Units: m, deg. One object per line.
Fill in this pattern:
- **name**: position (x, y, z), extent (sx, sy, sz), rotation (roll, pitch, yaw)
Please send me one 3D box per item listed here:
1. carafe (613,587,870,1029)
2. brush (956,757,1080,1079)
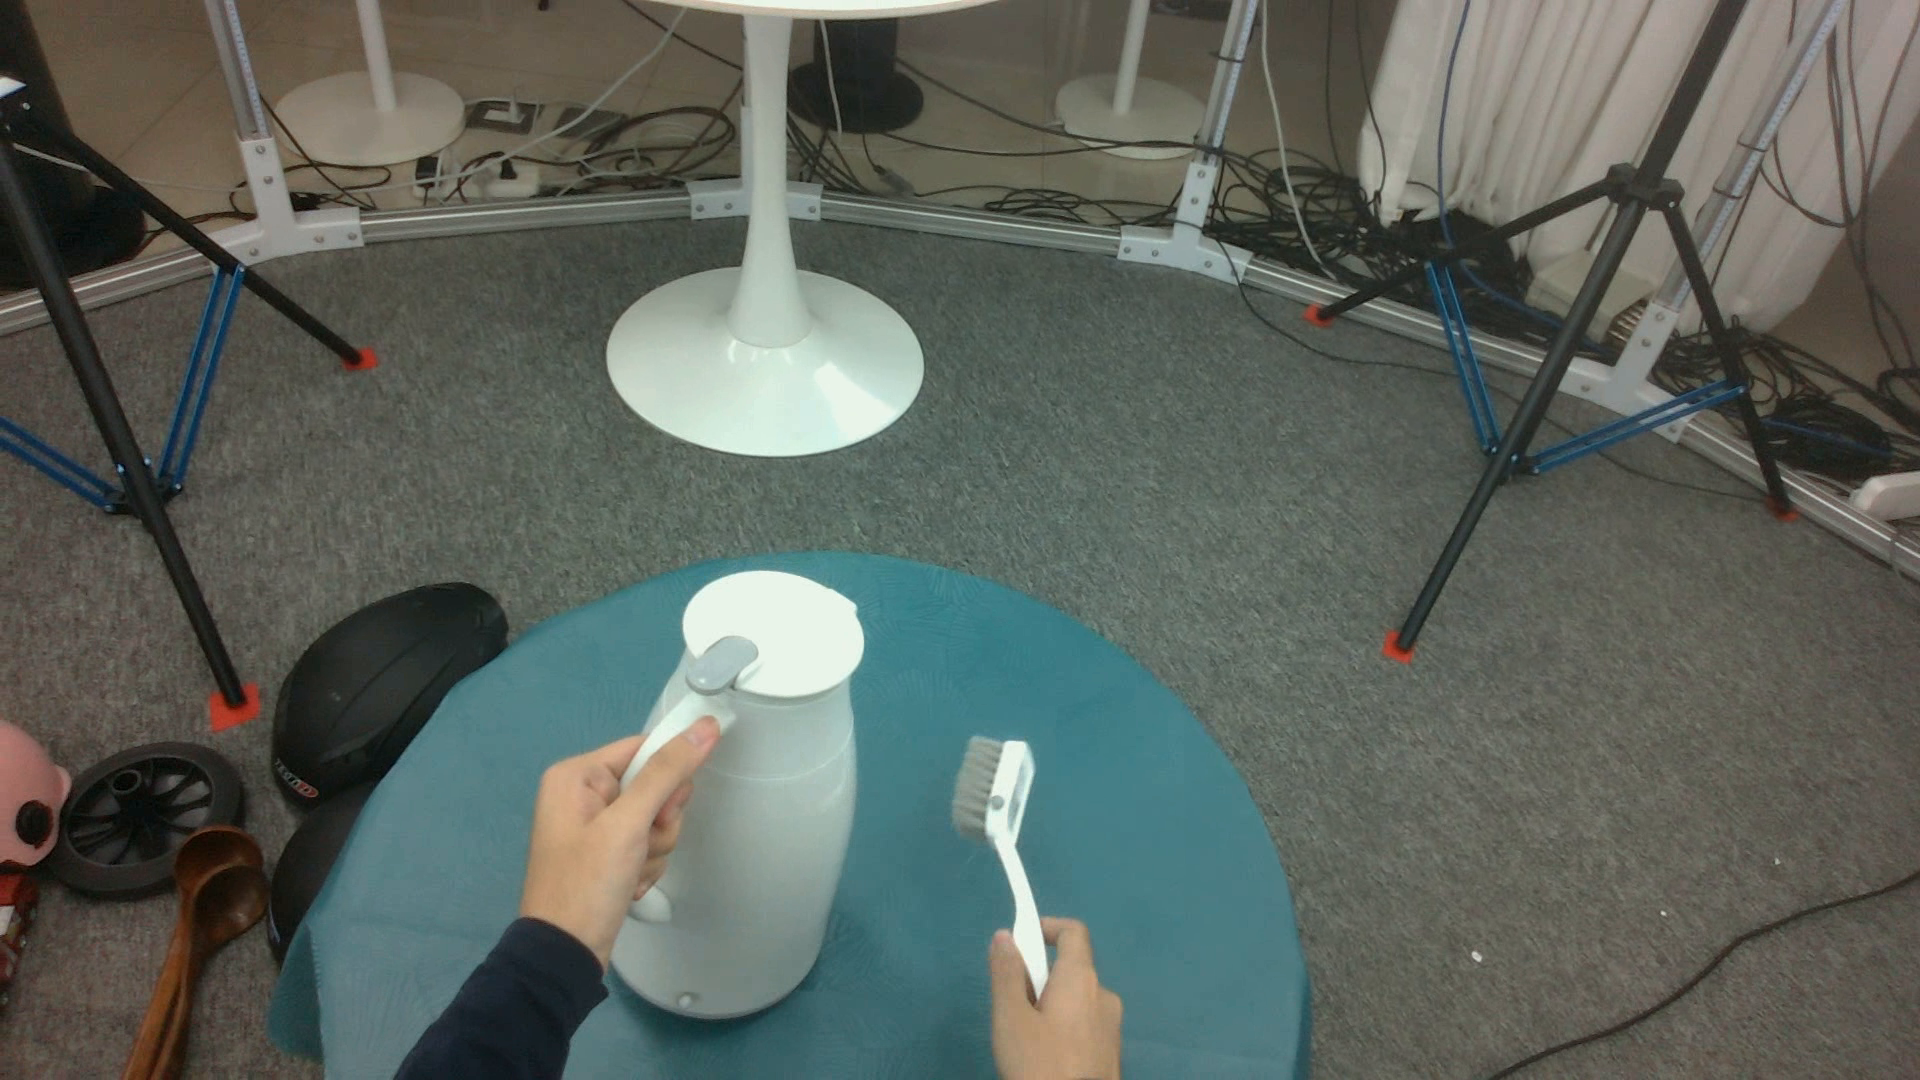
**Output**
- **carafe**: position (-0.125, 0.153, 0.756), extent (0.132, 0.247, 0.168), rotation (29, 37, 17)
- **brush**: position (0.031, 0.228, 0.808), extent (0.050, 0.034, 0.244), rotation (-16, 43, 7)
